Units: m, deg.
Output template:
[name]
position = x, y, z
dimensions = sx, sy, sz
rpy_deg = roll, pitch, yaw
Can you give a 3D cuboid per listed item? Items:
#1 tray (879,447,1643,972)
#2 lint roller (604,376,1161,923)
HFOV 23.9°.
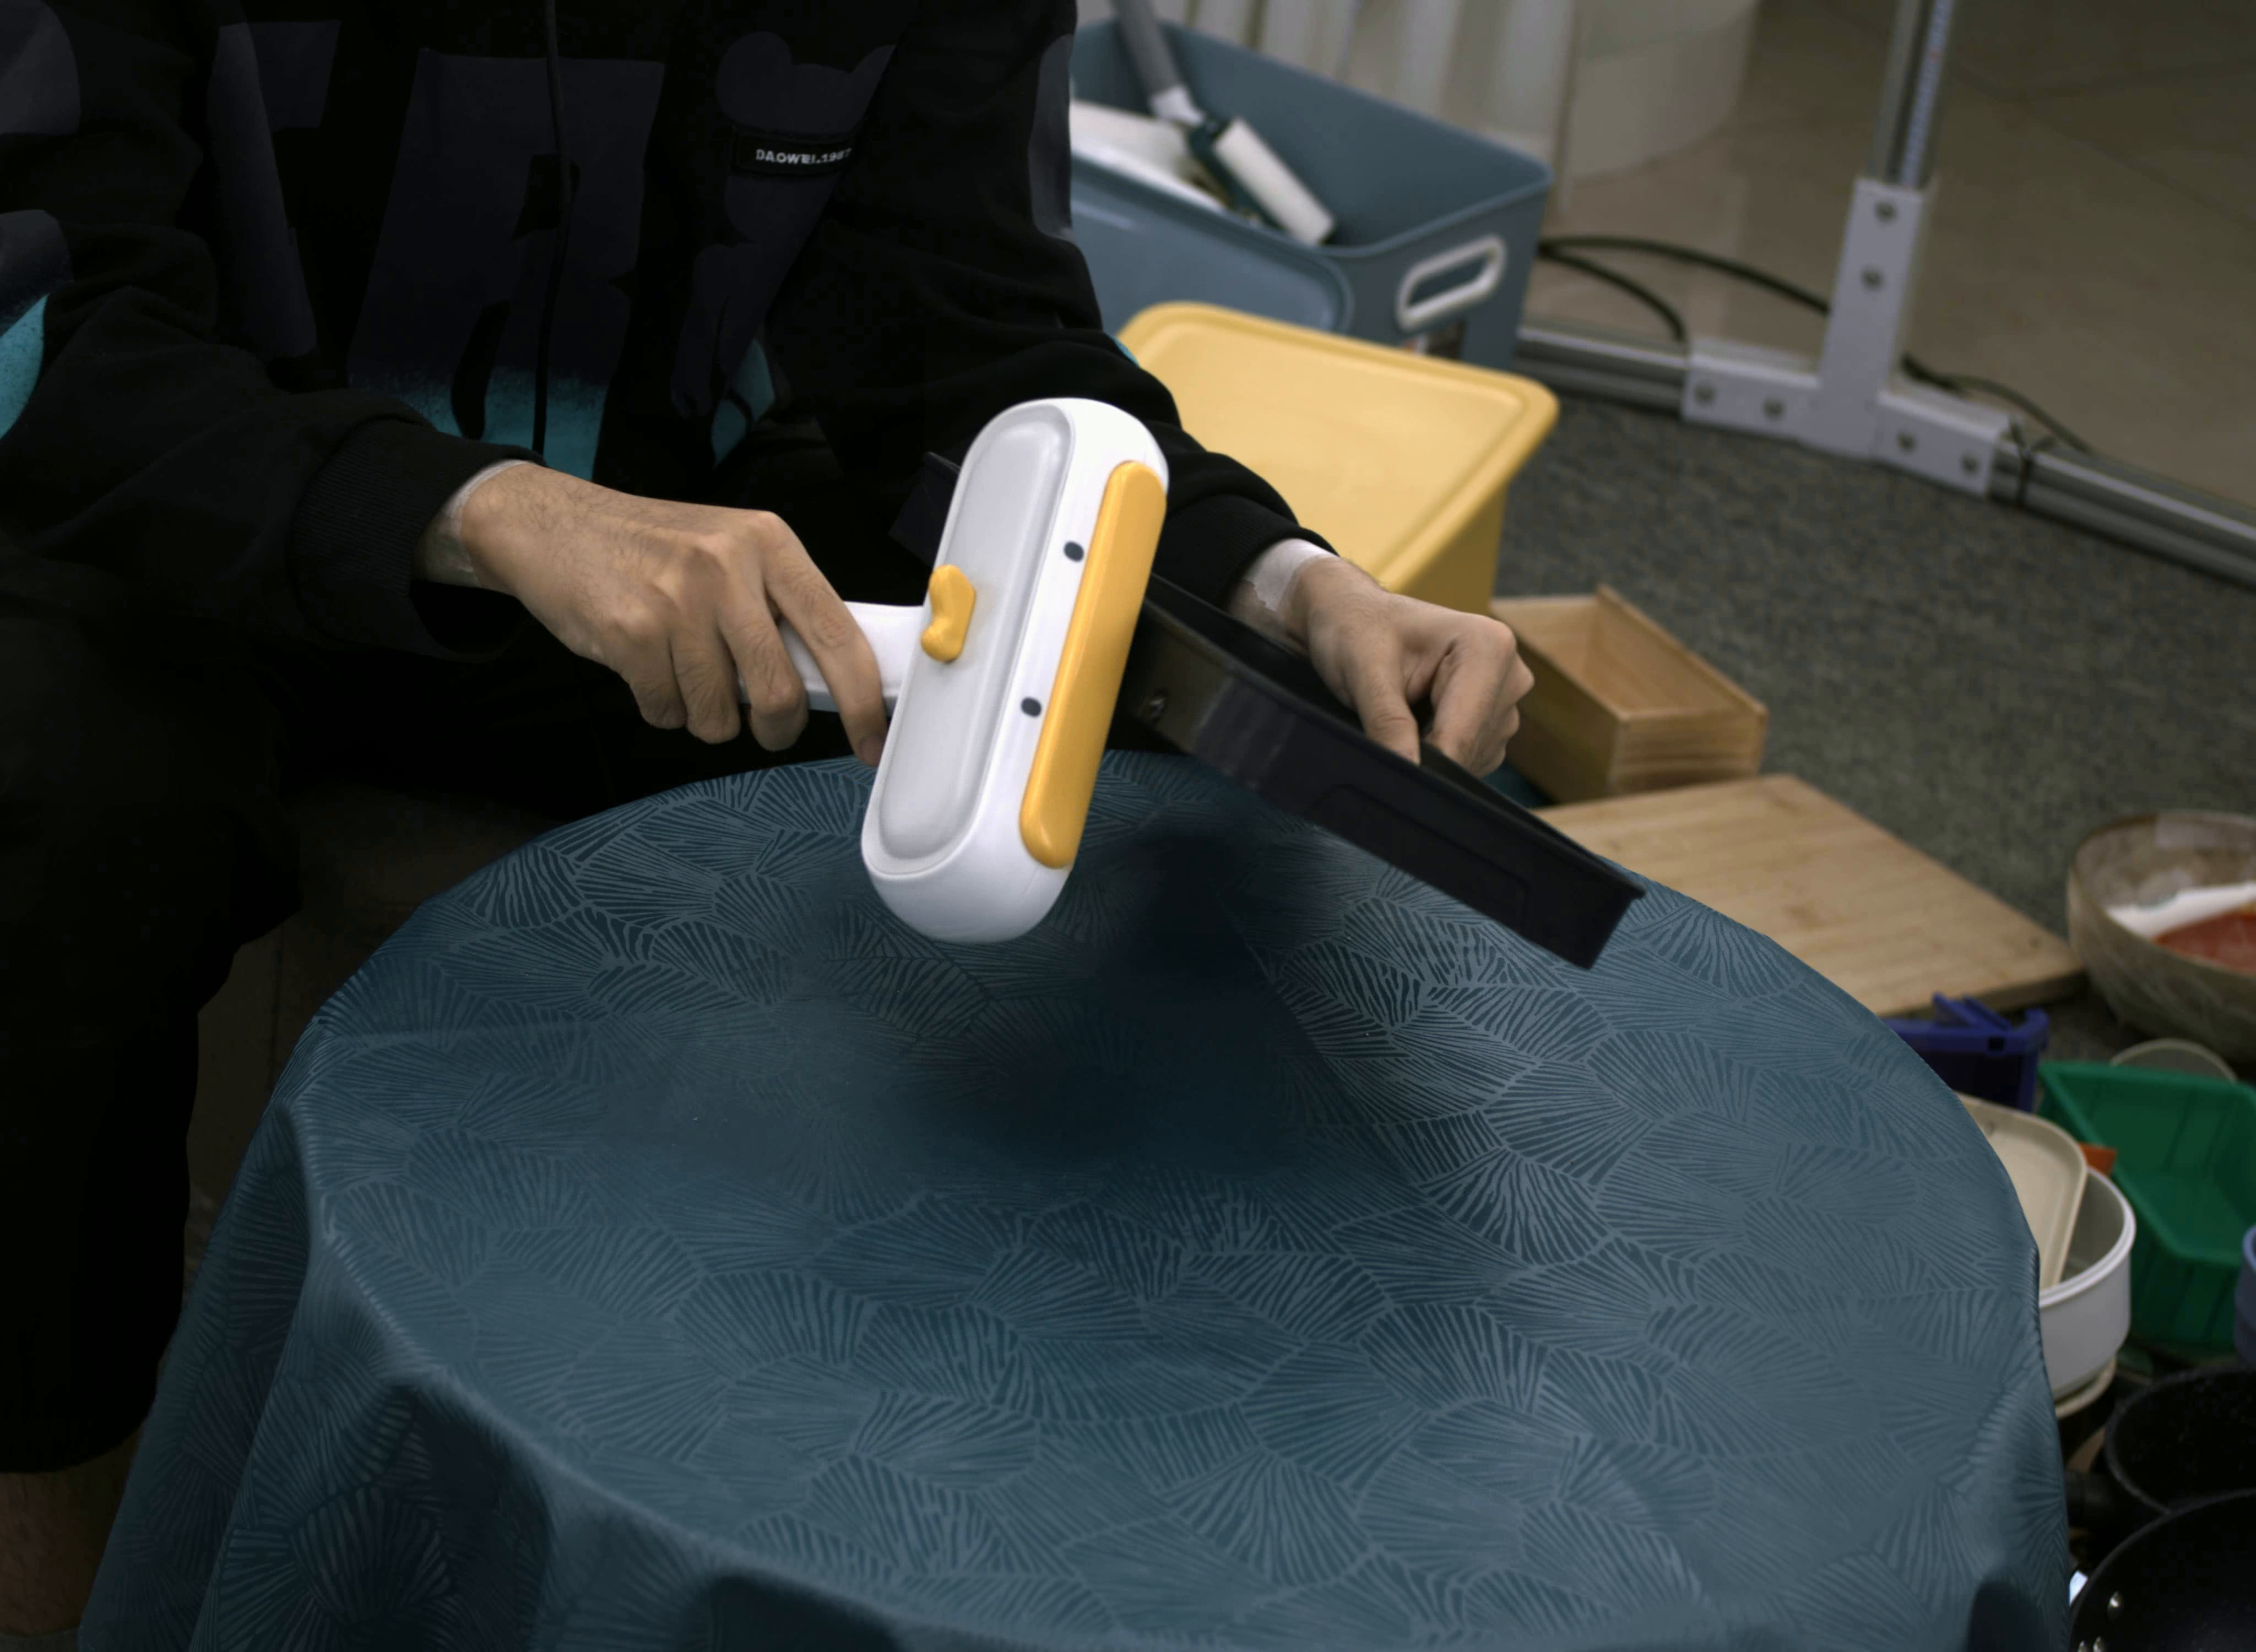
[tray]
position = 0.040, -0.045, 1.882
dimensions = 0.182, 0.037, 0.320
rpy_deg = 28, 4, -30
[lint roller]
position = -0.088, -0.058, 1.799
dimensions = 0.193, 0.194, 0.073
rpy_deg = -6, -25, 35
